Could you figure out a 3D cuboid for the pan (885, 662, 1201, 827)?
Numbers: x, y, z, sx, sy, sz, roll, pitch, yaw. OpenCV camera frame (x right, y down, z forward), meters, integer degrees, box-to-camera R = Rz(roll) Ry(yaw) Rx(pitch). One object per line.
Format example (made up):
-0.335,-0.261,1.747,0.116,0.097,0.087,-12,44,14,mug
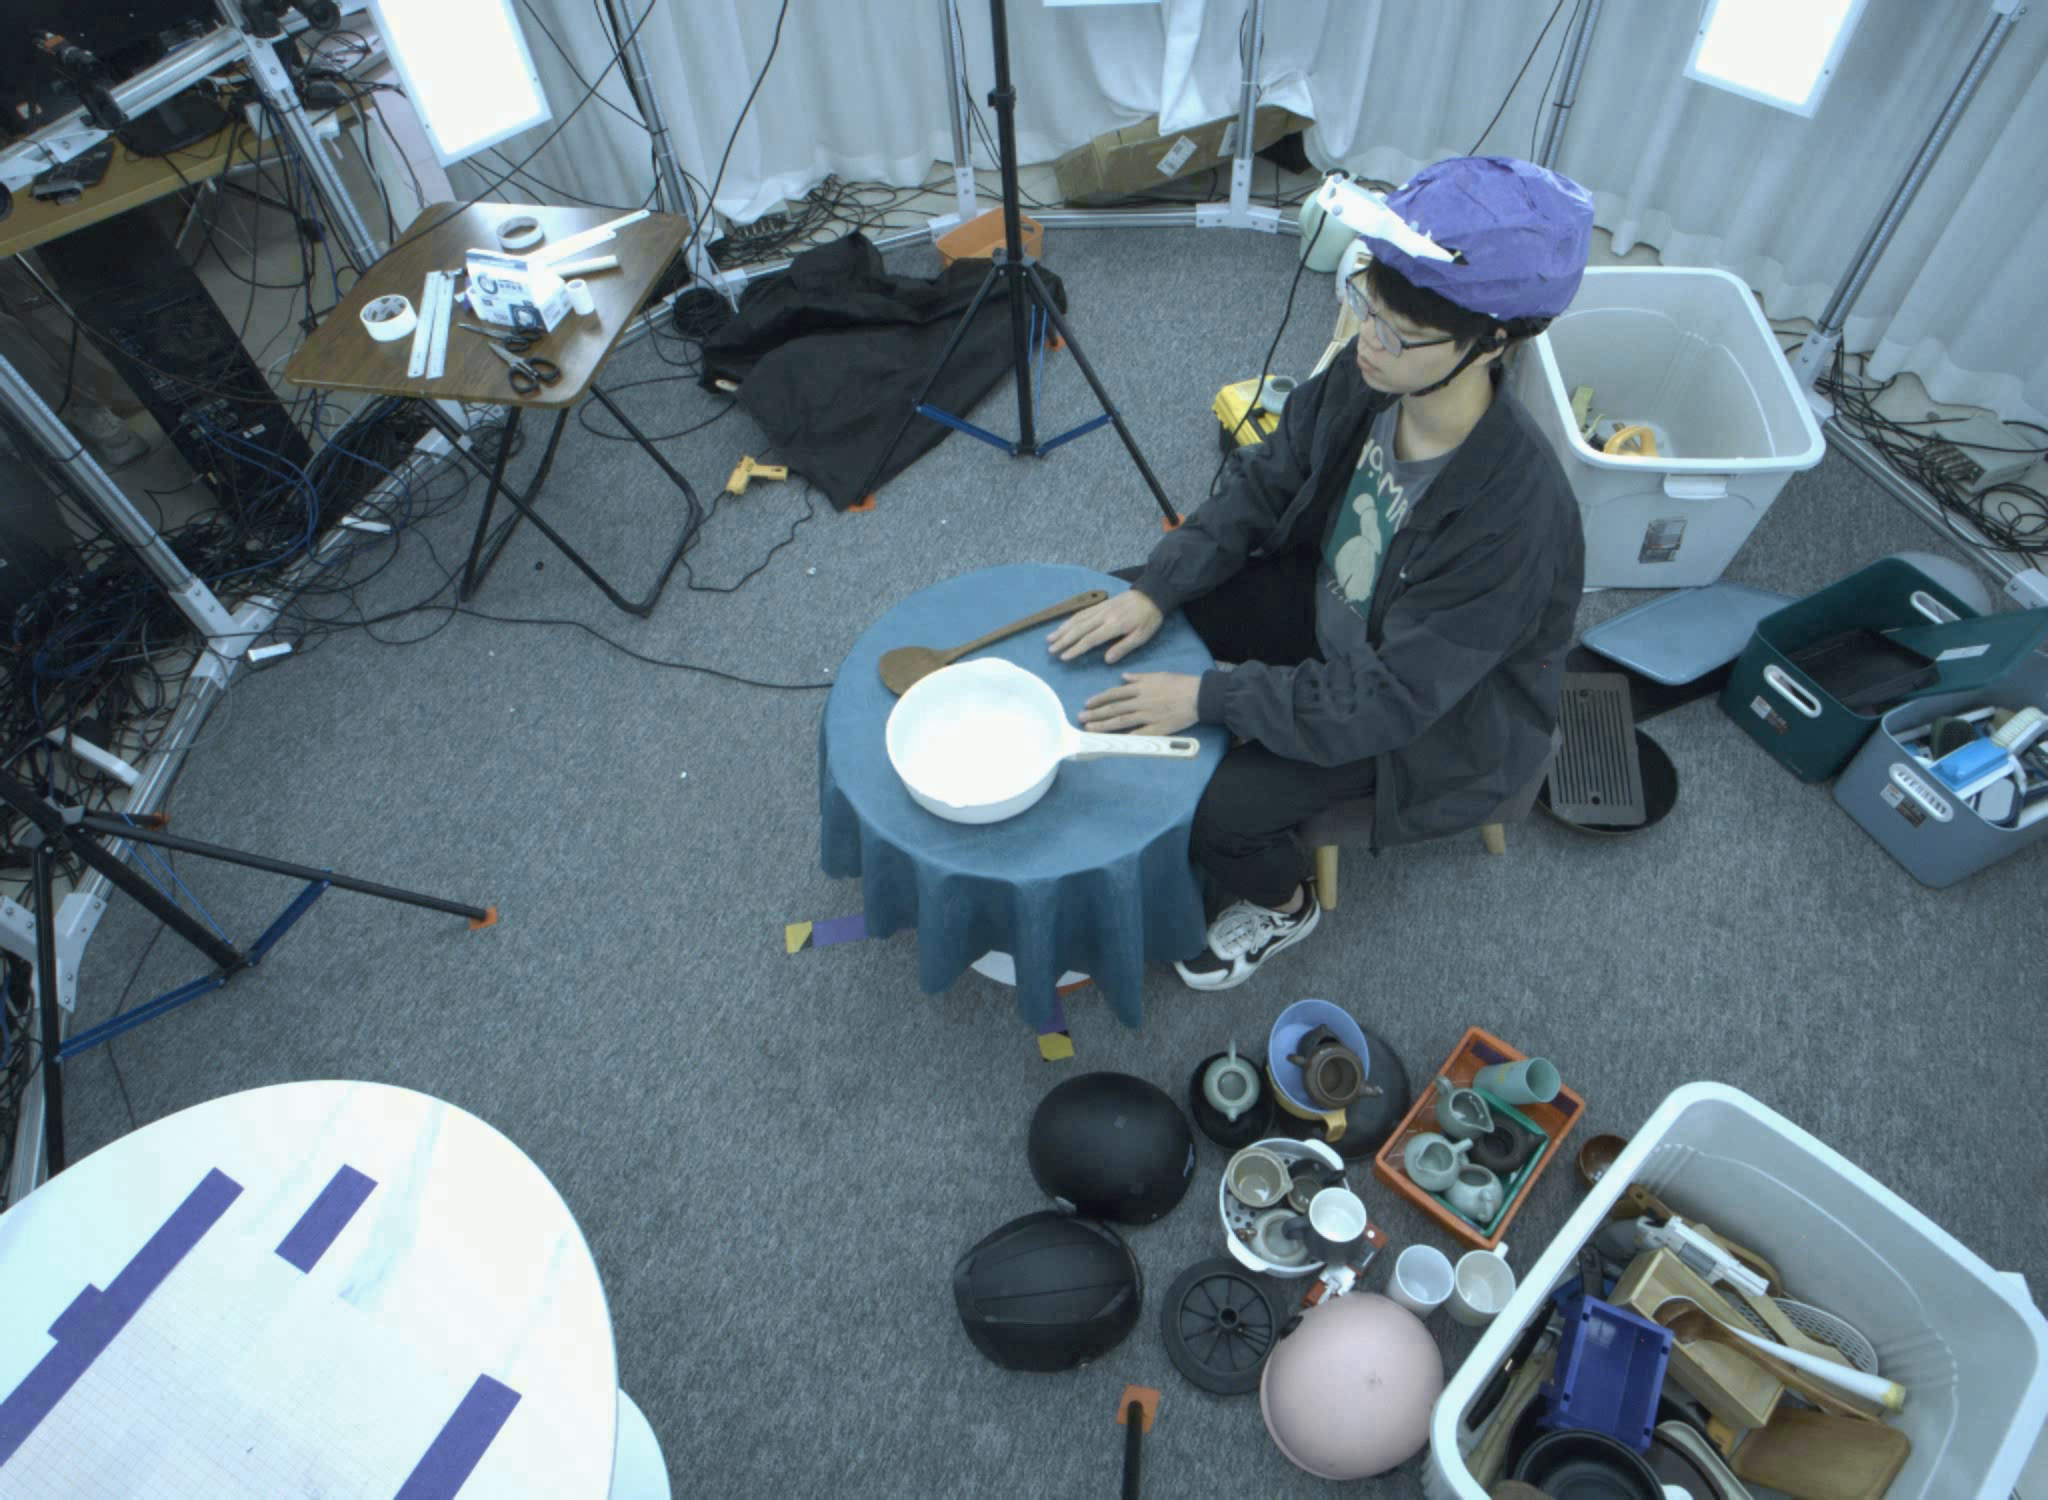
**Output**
0.026,0.005,1.711,0.432,0.103,0.262,7,53,7,pan

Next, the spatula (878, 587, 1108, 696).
-0.041,-0.179,1.900,0.389,0.016,0.094,-23,58,-14,spatula
